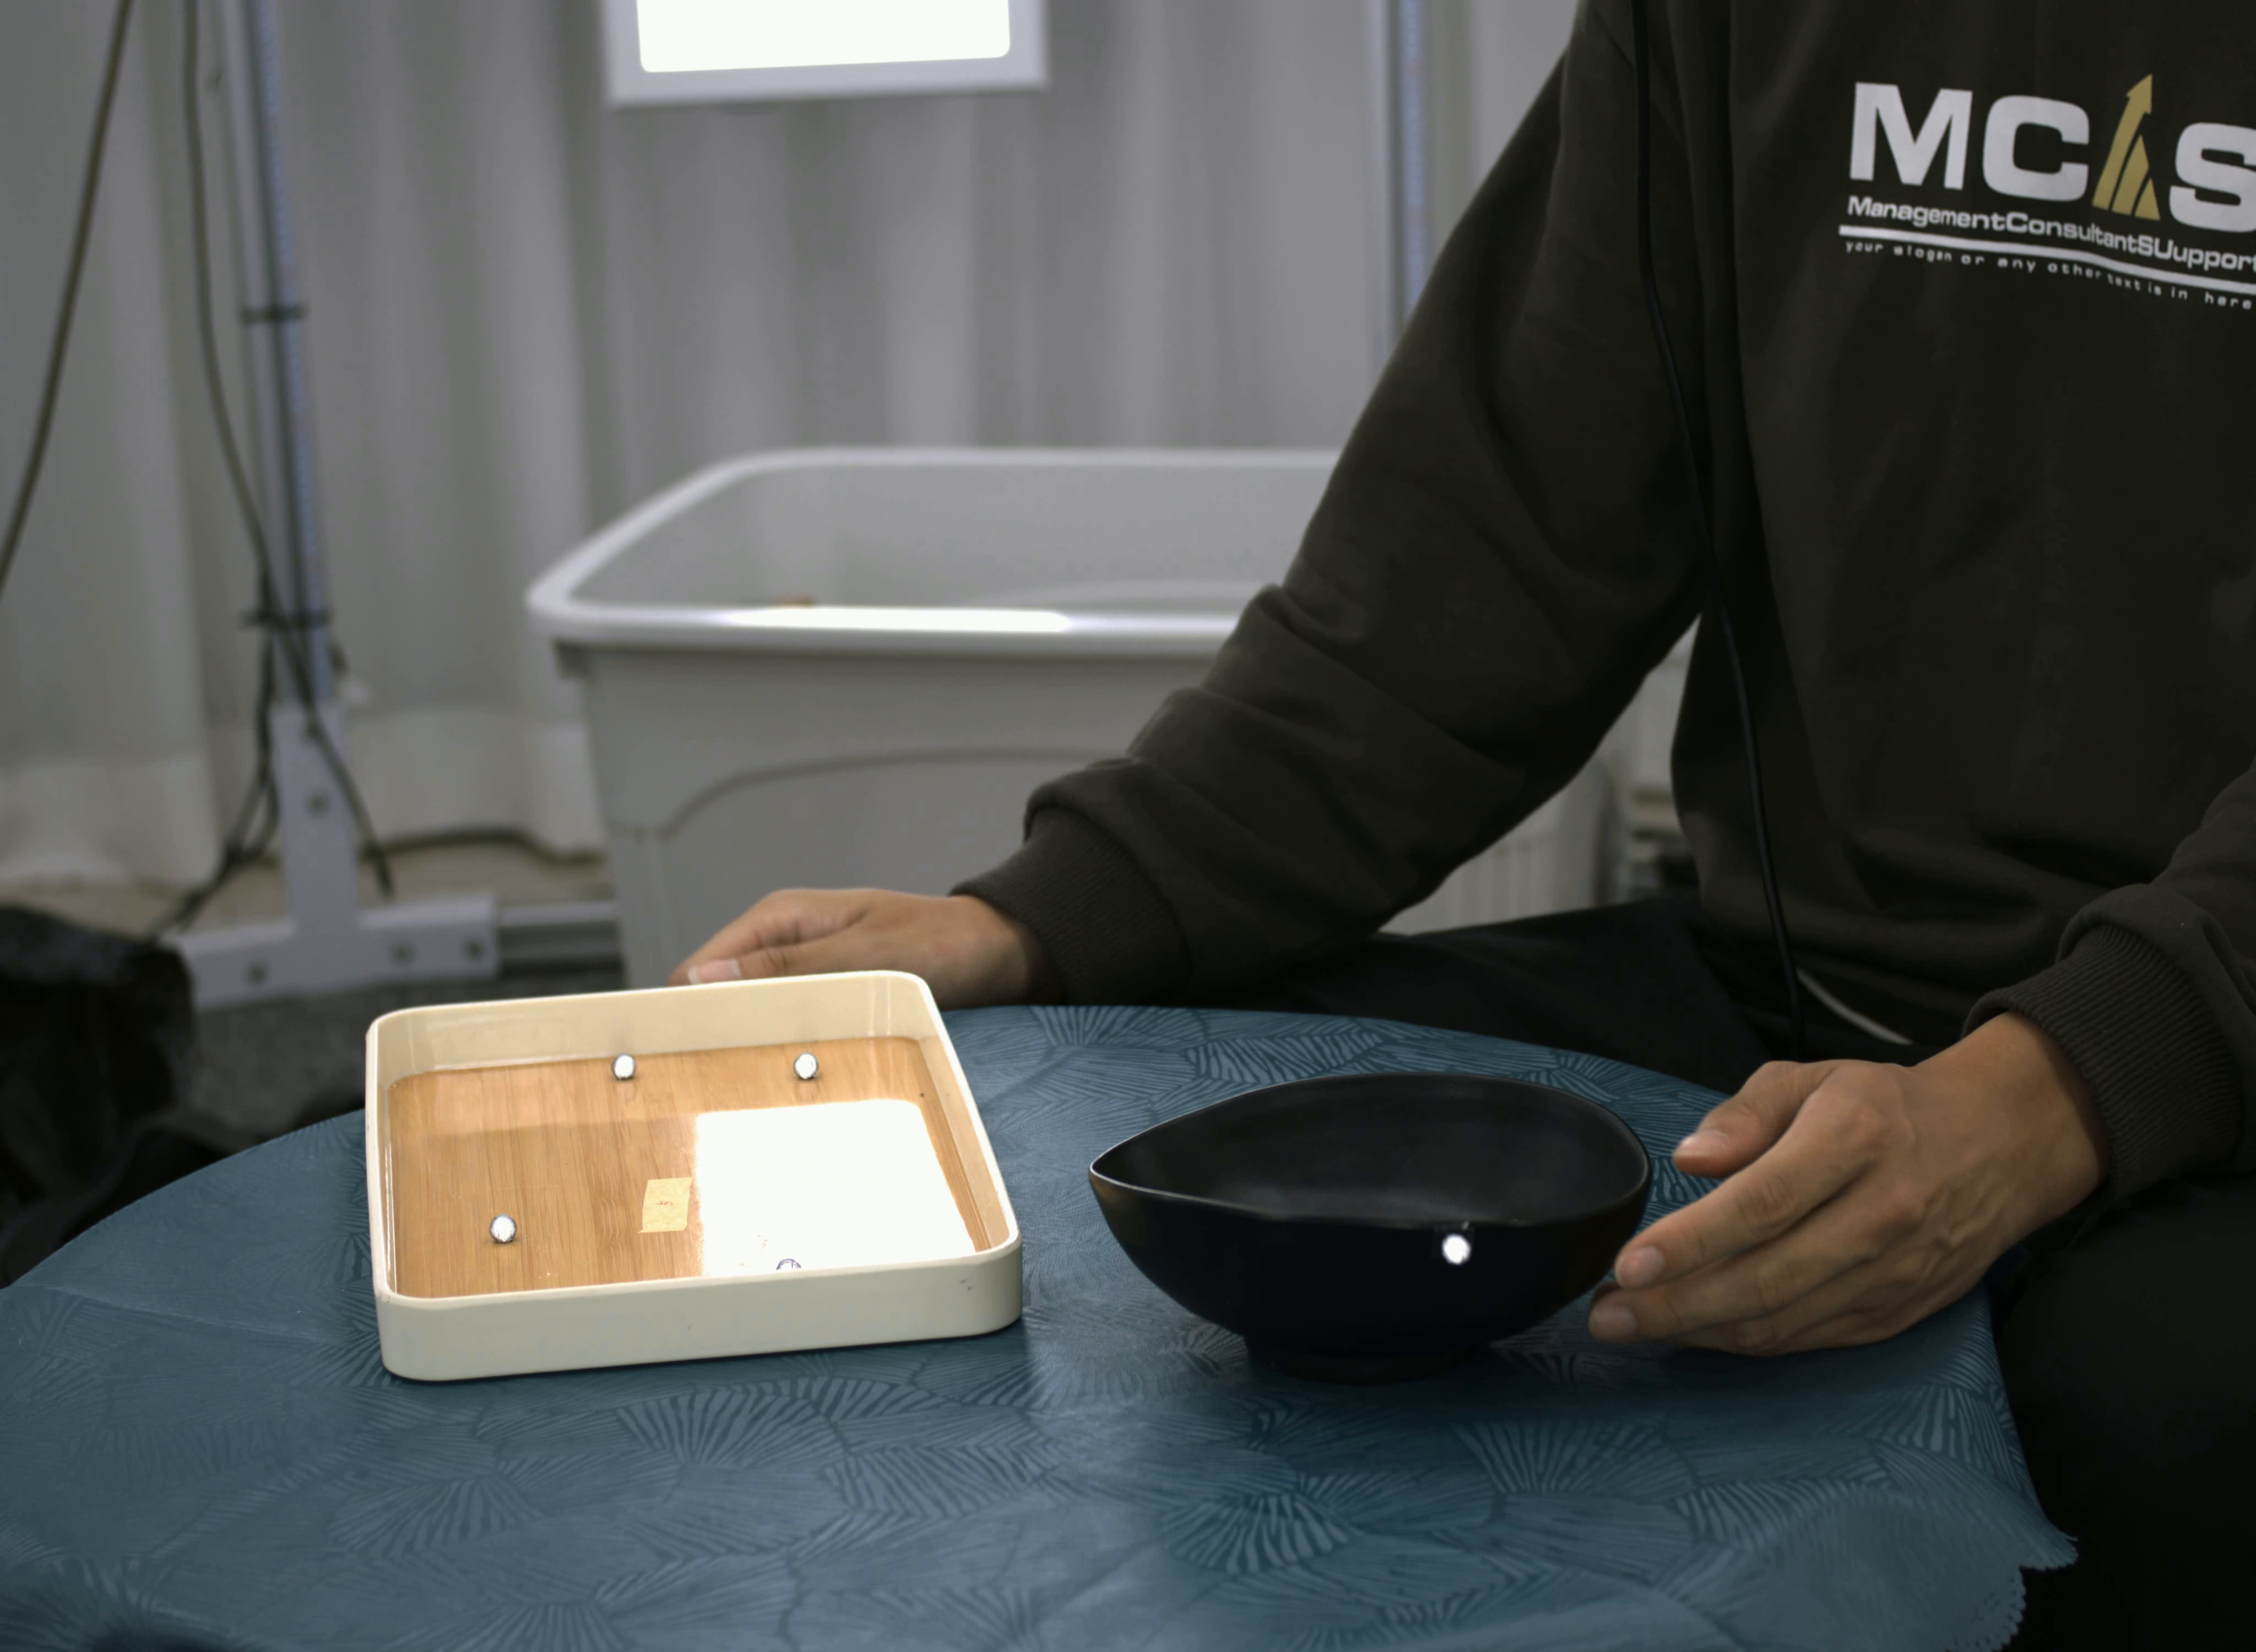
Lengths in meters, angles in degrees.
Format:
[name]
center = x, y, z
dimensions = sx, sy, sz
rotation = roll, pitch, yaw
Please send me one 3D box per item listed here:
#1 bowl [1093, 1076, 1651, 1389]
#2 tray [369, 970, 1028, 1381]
[bowl]
center = 0.068, 0.121, 1.566
dimensions = 0.170, 0.066, 0.137
rotation = 4, 15, 30
[tray]
center = -0.141, 0.106, 1.724
dimensions = 0.191, 0.027, 0.302
rotation = -5, 15, -7
